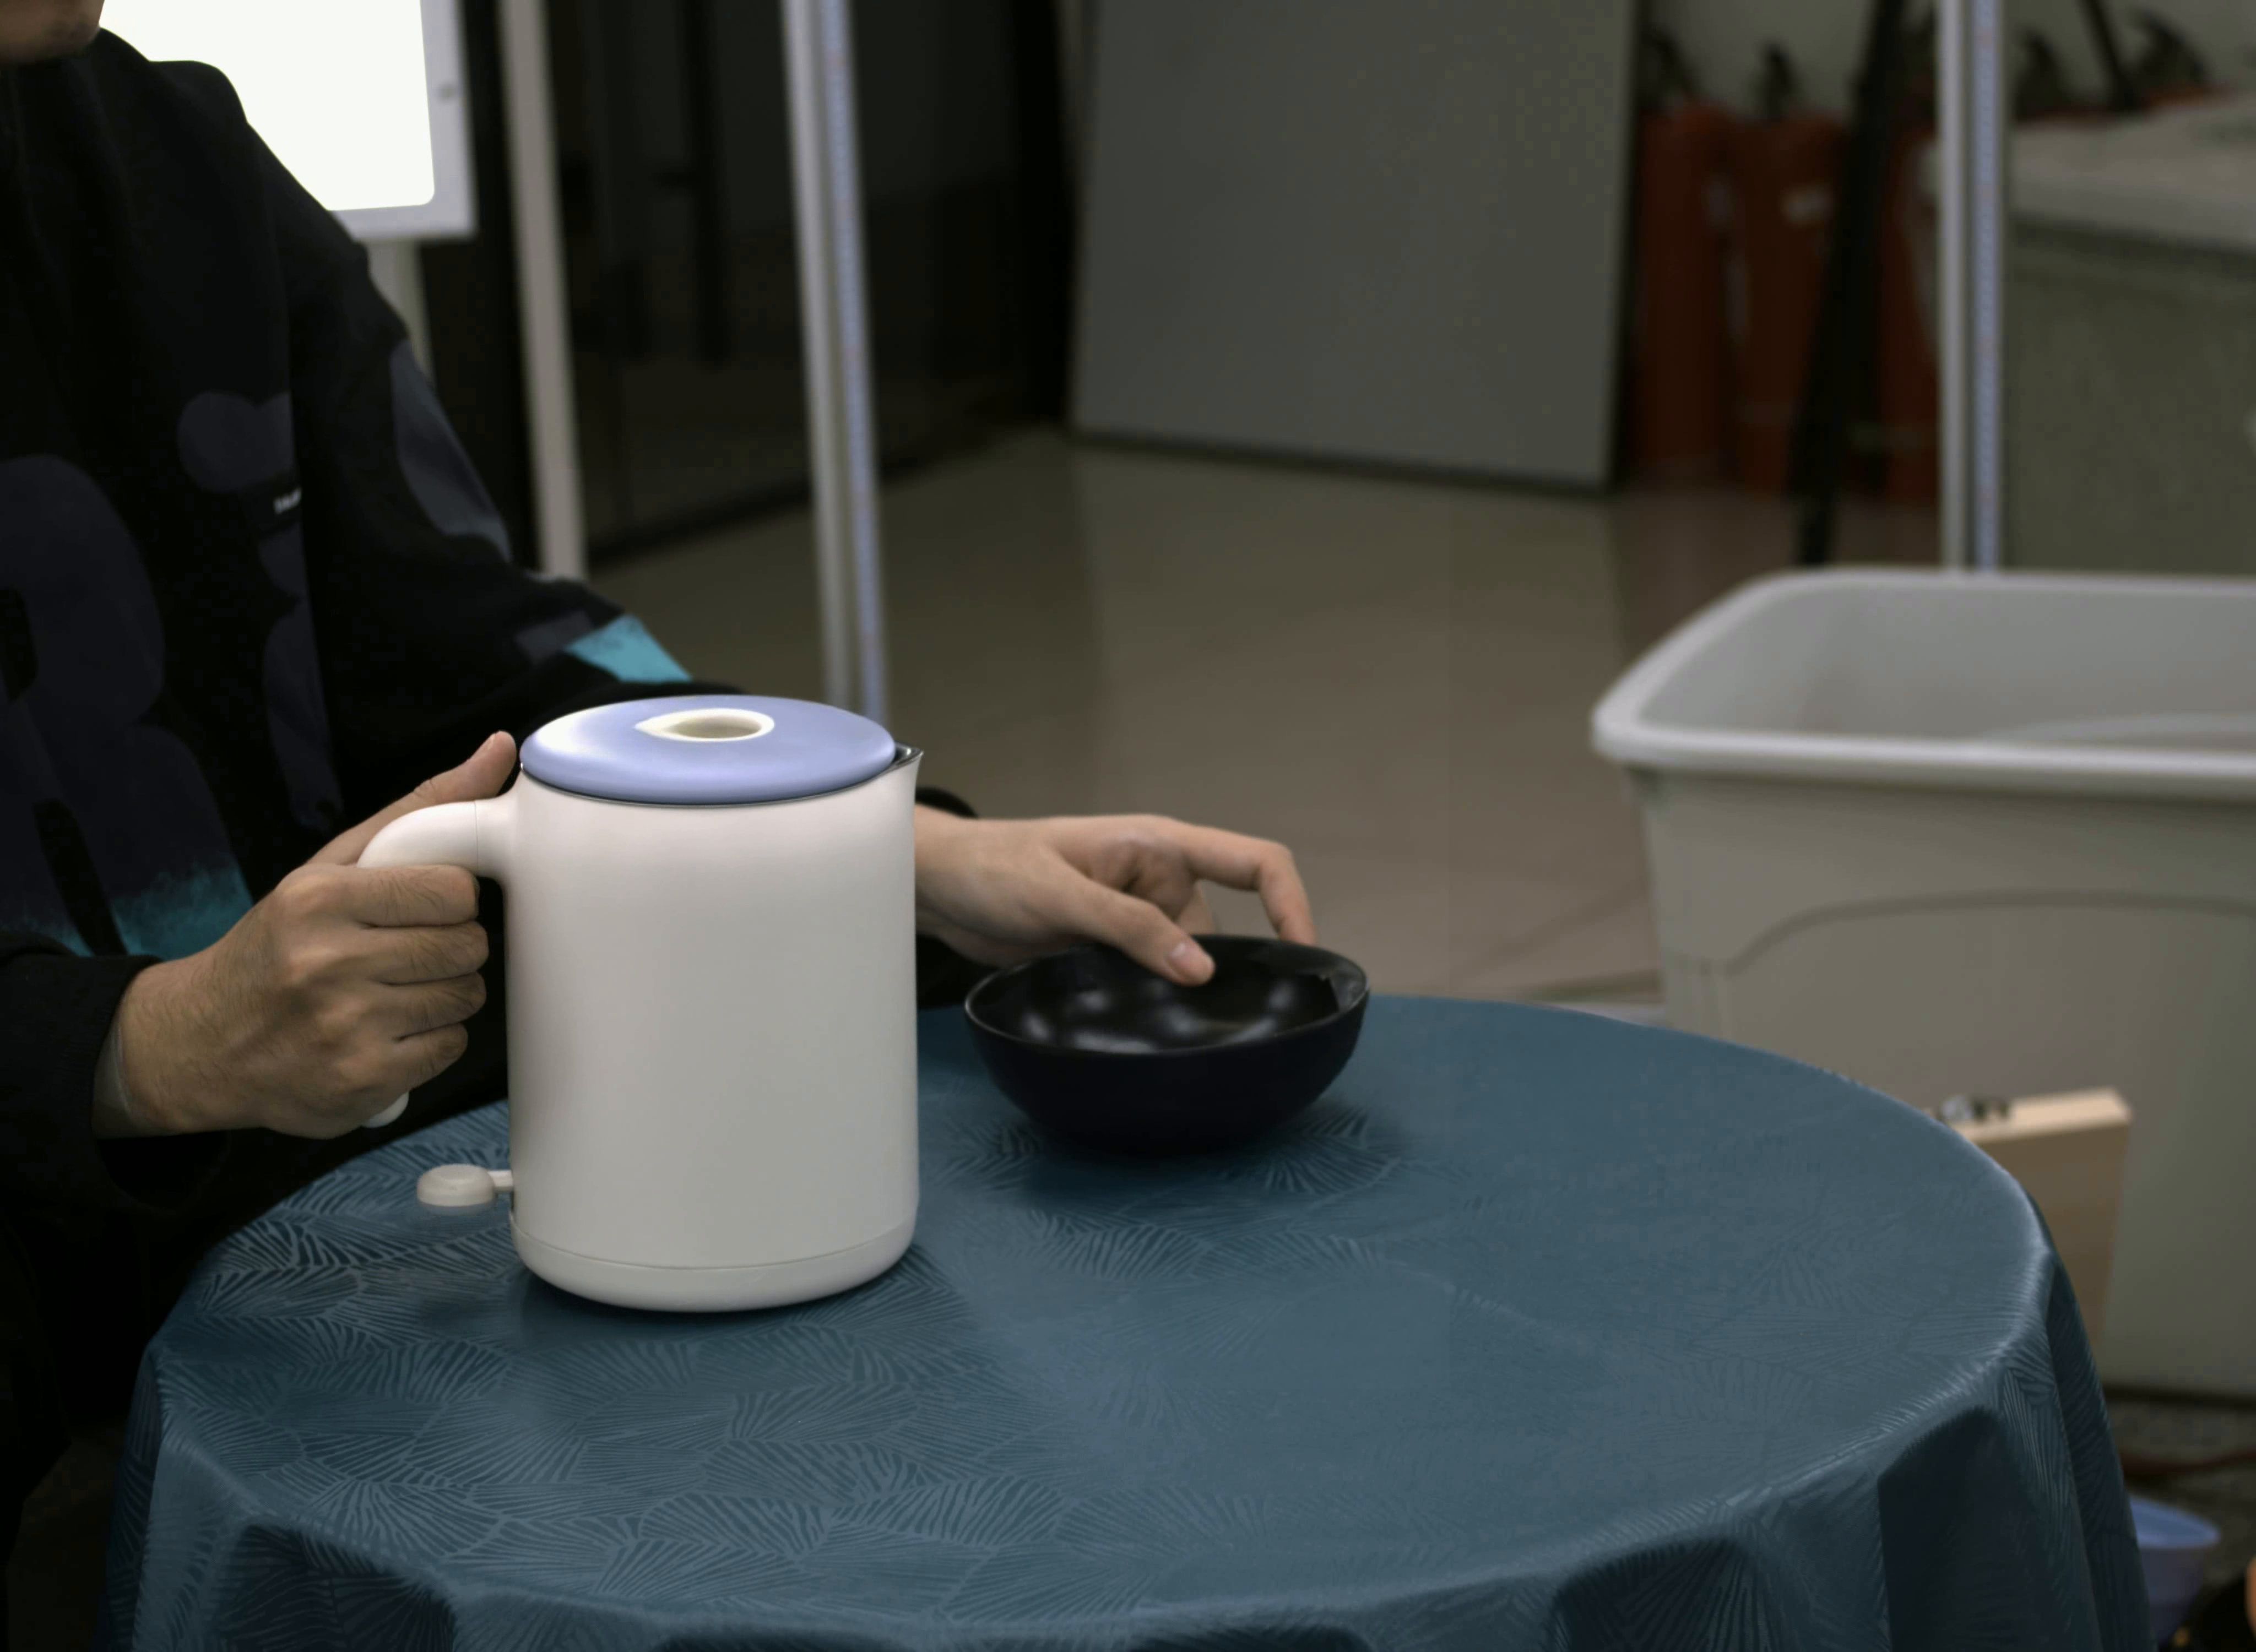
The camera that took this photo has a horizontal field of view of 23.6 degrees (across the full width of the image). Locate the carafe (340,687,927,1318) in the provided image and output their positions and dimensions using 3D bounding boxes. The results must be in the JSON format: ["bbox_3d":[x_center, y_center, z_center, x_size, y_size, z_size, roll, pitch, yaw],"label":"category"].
[{"bbox_3d":[-0.154,0.057,1.703,0.188,0.184,0.133,-6,13,-10],"label":"carafe"}]

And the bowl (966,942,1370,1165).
[{"bbox_3d":[0.016,0.081,1.830,0.138,0.050,0.140,-6,13,0],"label":"bowl"}]
